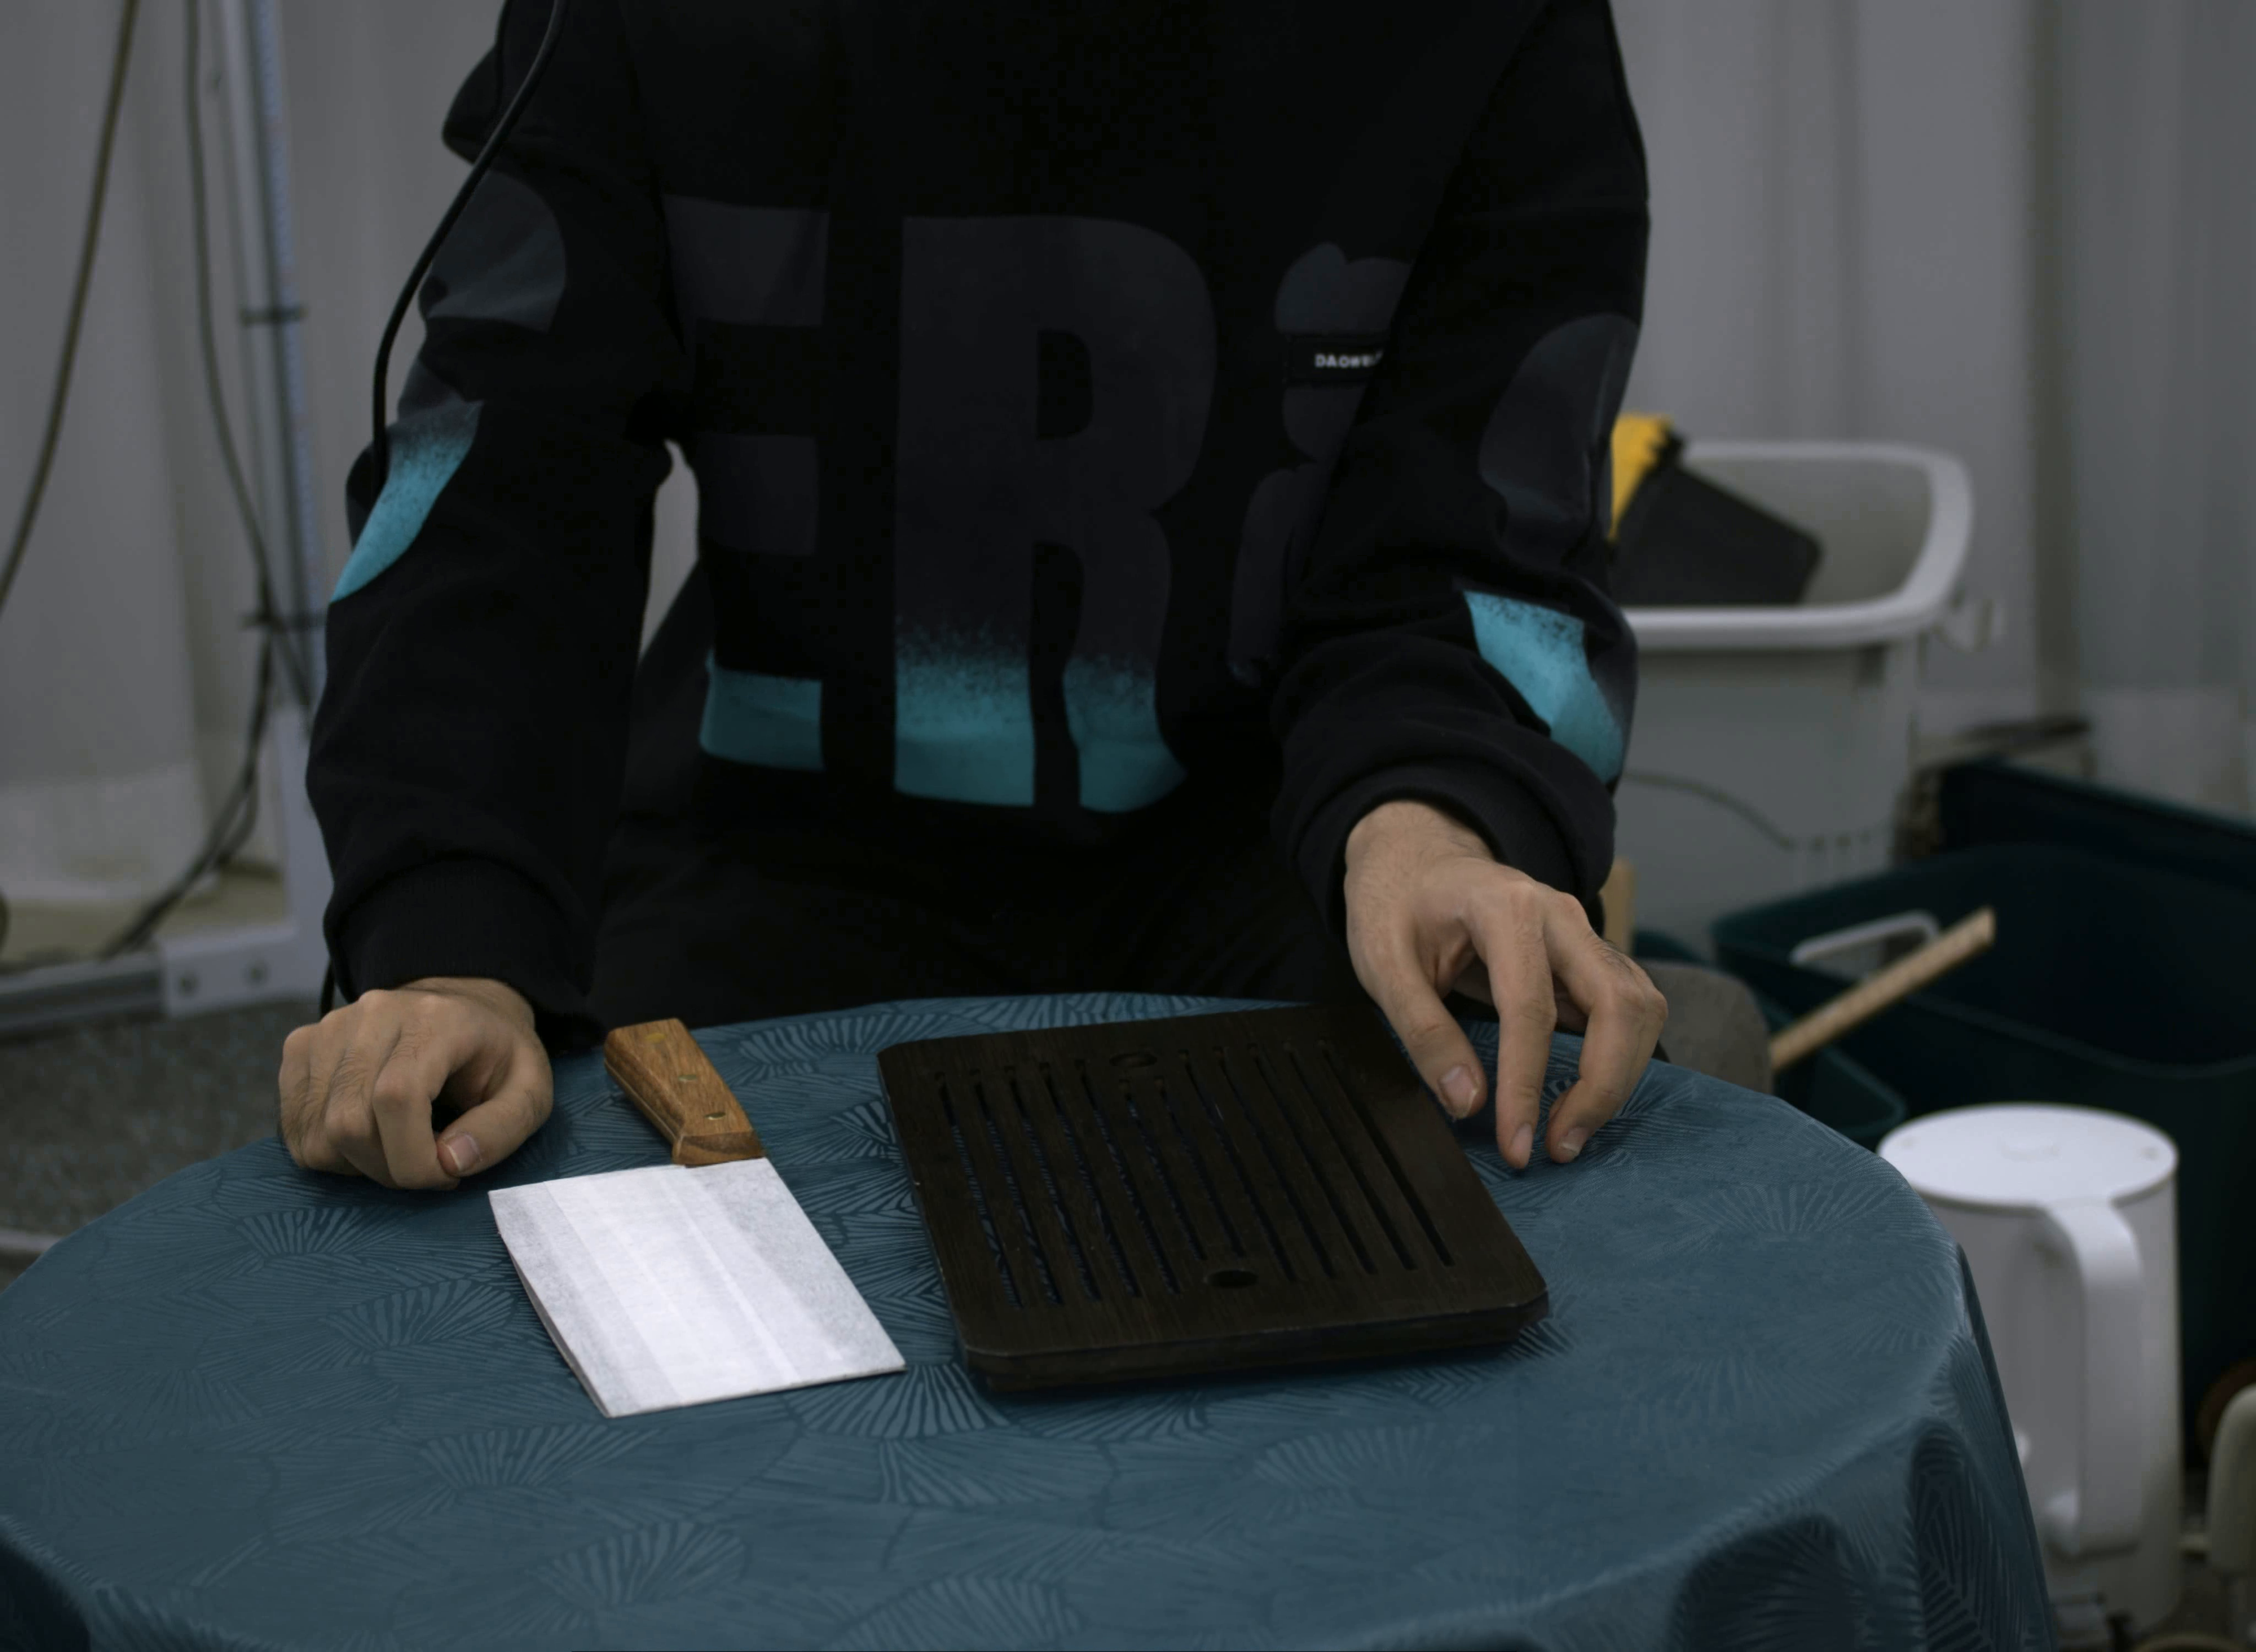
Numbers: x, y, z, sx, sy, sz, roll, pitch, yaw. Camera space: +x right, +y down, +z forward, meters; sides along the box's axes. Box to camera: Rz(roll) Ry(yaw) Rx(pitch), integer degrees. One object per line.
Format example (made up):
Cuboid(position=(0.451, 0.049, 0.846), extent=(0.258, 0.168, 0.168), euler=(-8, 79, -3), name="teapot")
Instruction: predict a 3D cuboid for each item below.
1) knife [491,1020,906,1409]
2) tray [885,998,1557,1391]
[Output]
Cuboid(position=(-0.147, 0.120, 1.697), extent=(0.092, 0.021, 0.308), euler=(-9, 18, -15), name="knife")
Cuboid(position=(0.021, 0.111, 1.690), extent=(0.169, 0.018, 0.308), euler=(-5, 15, -6), name="tray")
